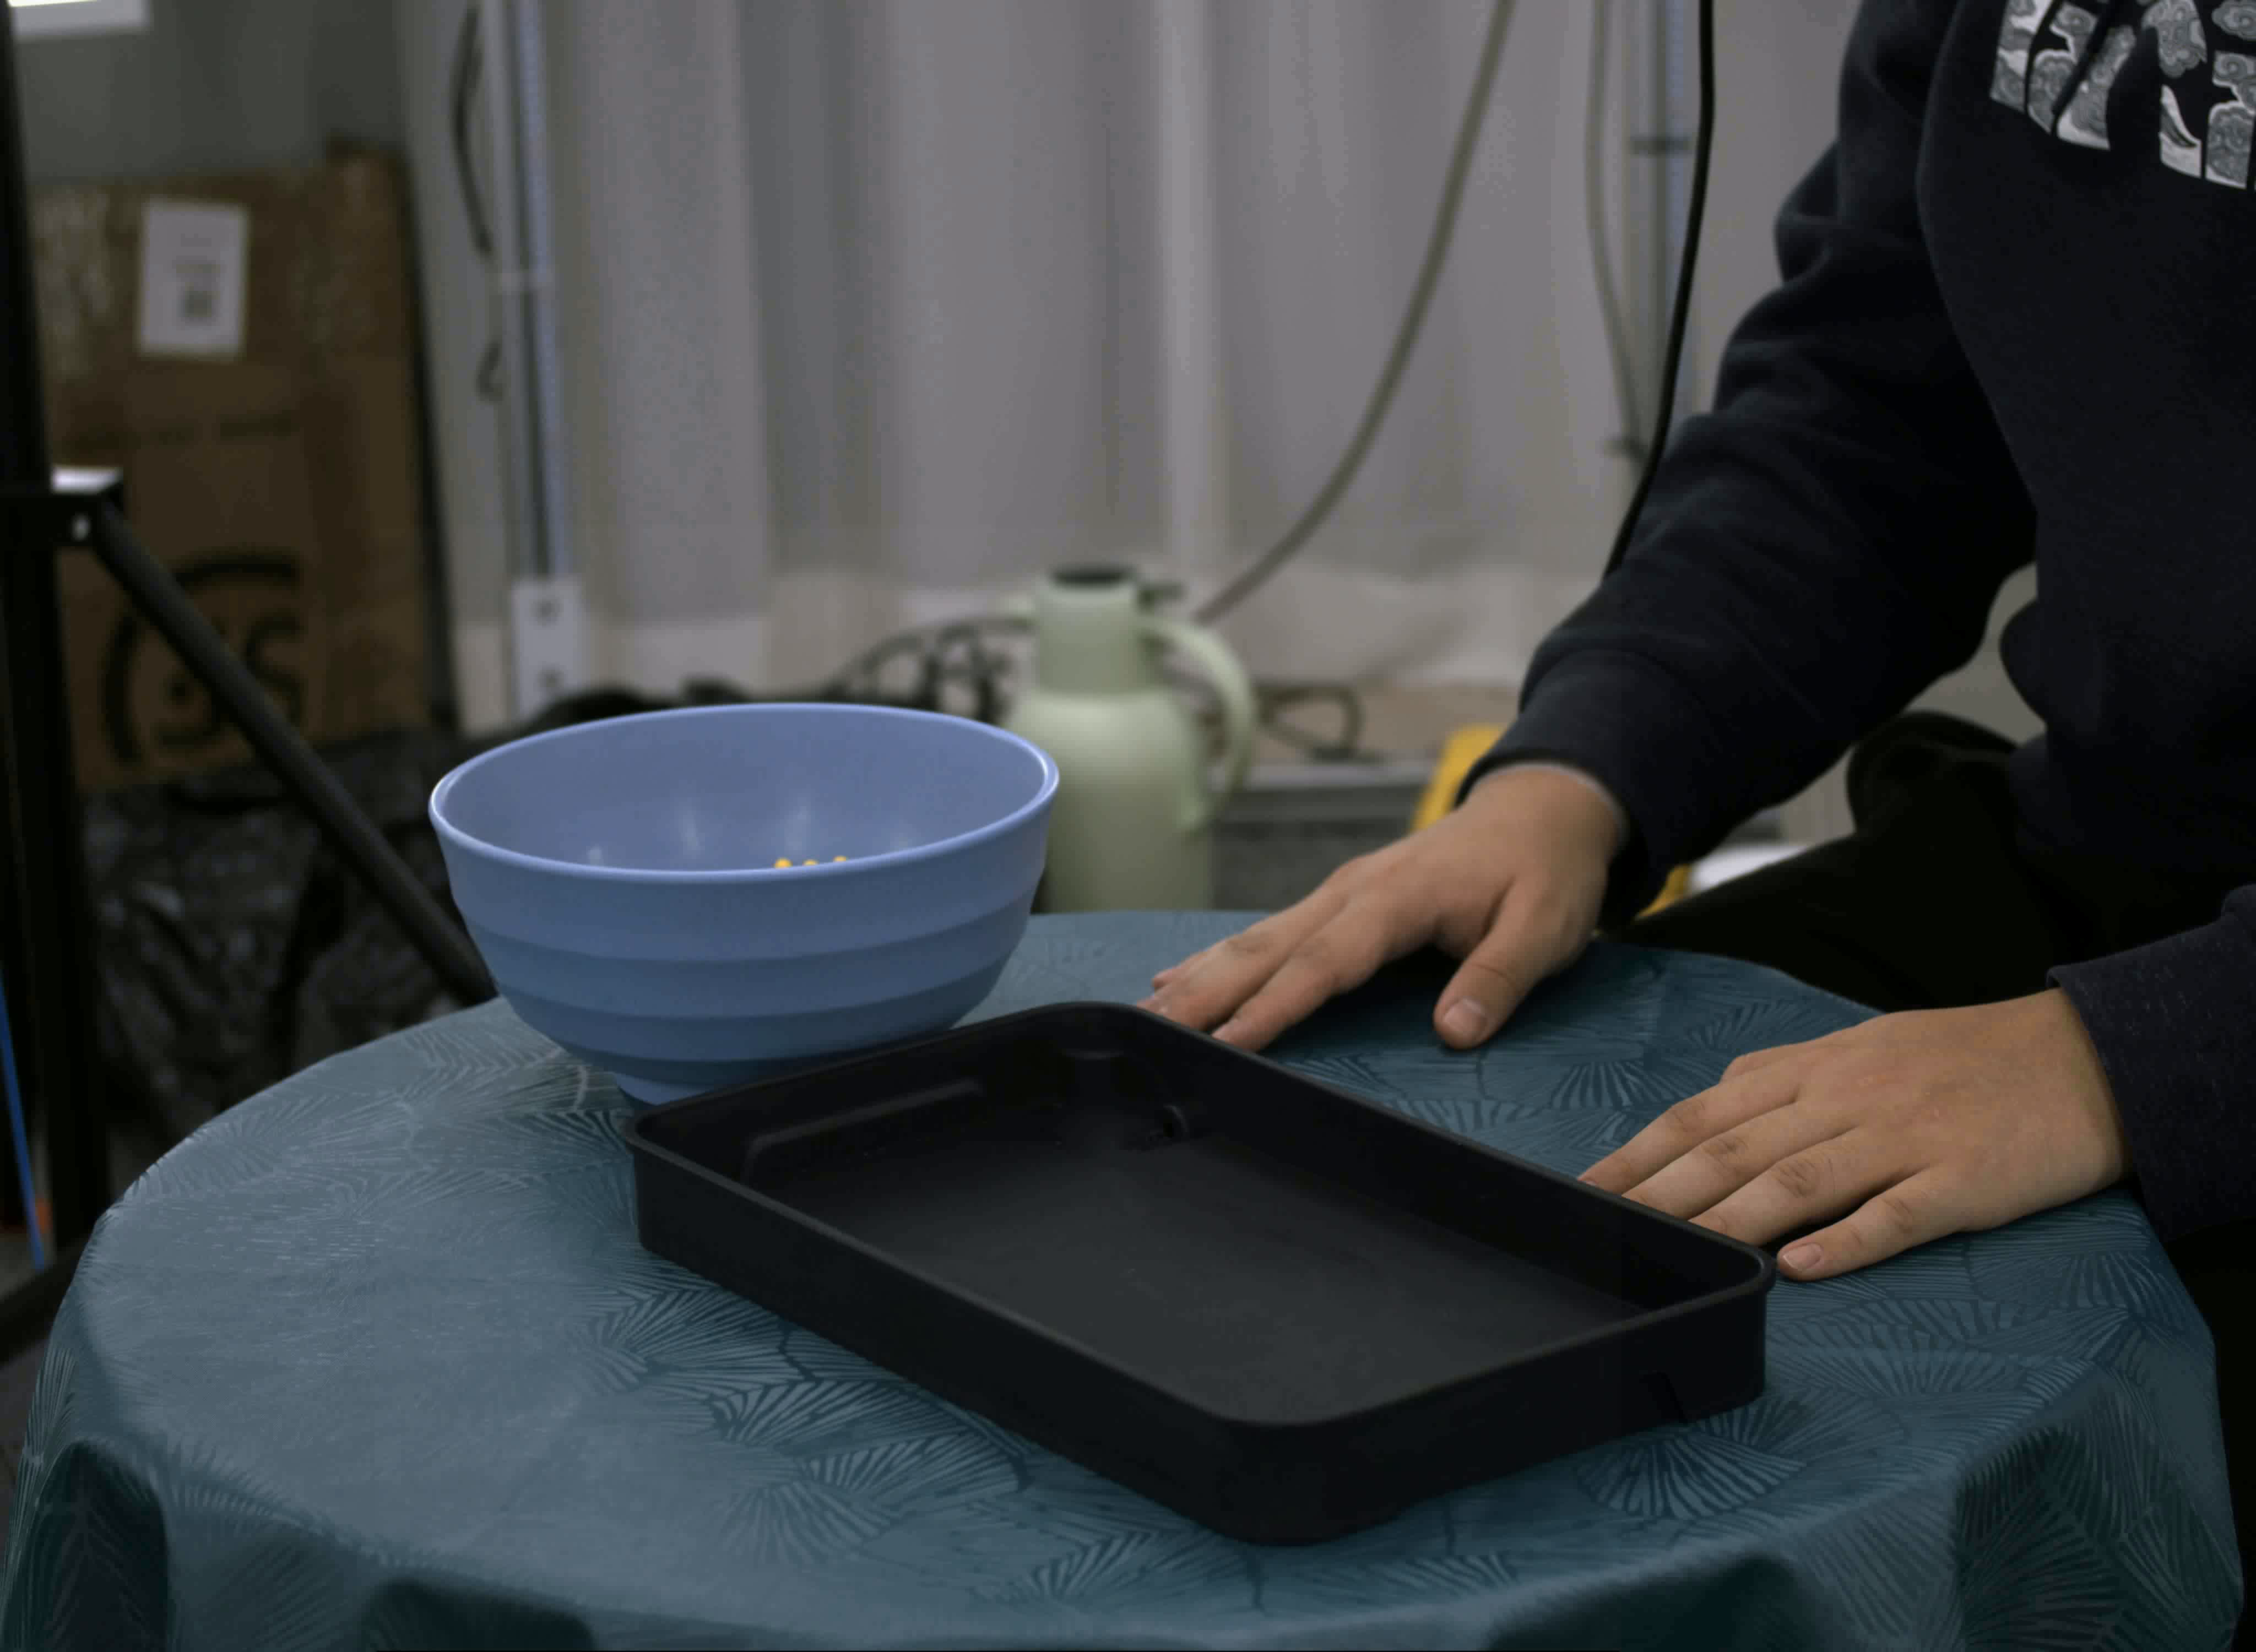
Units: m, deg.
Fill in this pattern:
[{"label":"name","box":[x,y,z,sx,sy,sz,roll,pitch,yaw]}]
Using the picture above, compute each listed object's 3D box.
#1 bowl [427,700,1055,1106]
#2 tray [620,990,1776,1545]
[{"label":"bowl","box":[-0.117,0.030,1.671,0.195,0.095,0.197,-4,16,0]},{"label":"tray","box":[0.012,0.114,1.462,0.180,0.037,0.325,-13,19,-33]}]
